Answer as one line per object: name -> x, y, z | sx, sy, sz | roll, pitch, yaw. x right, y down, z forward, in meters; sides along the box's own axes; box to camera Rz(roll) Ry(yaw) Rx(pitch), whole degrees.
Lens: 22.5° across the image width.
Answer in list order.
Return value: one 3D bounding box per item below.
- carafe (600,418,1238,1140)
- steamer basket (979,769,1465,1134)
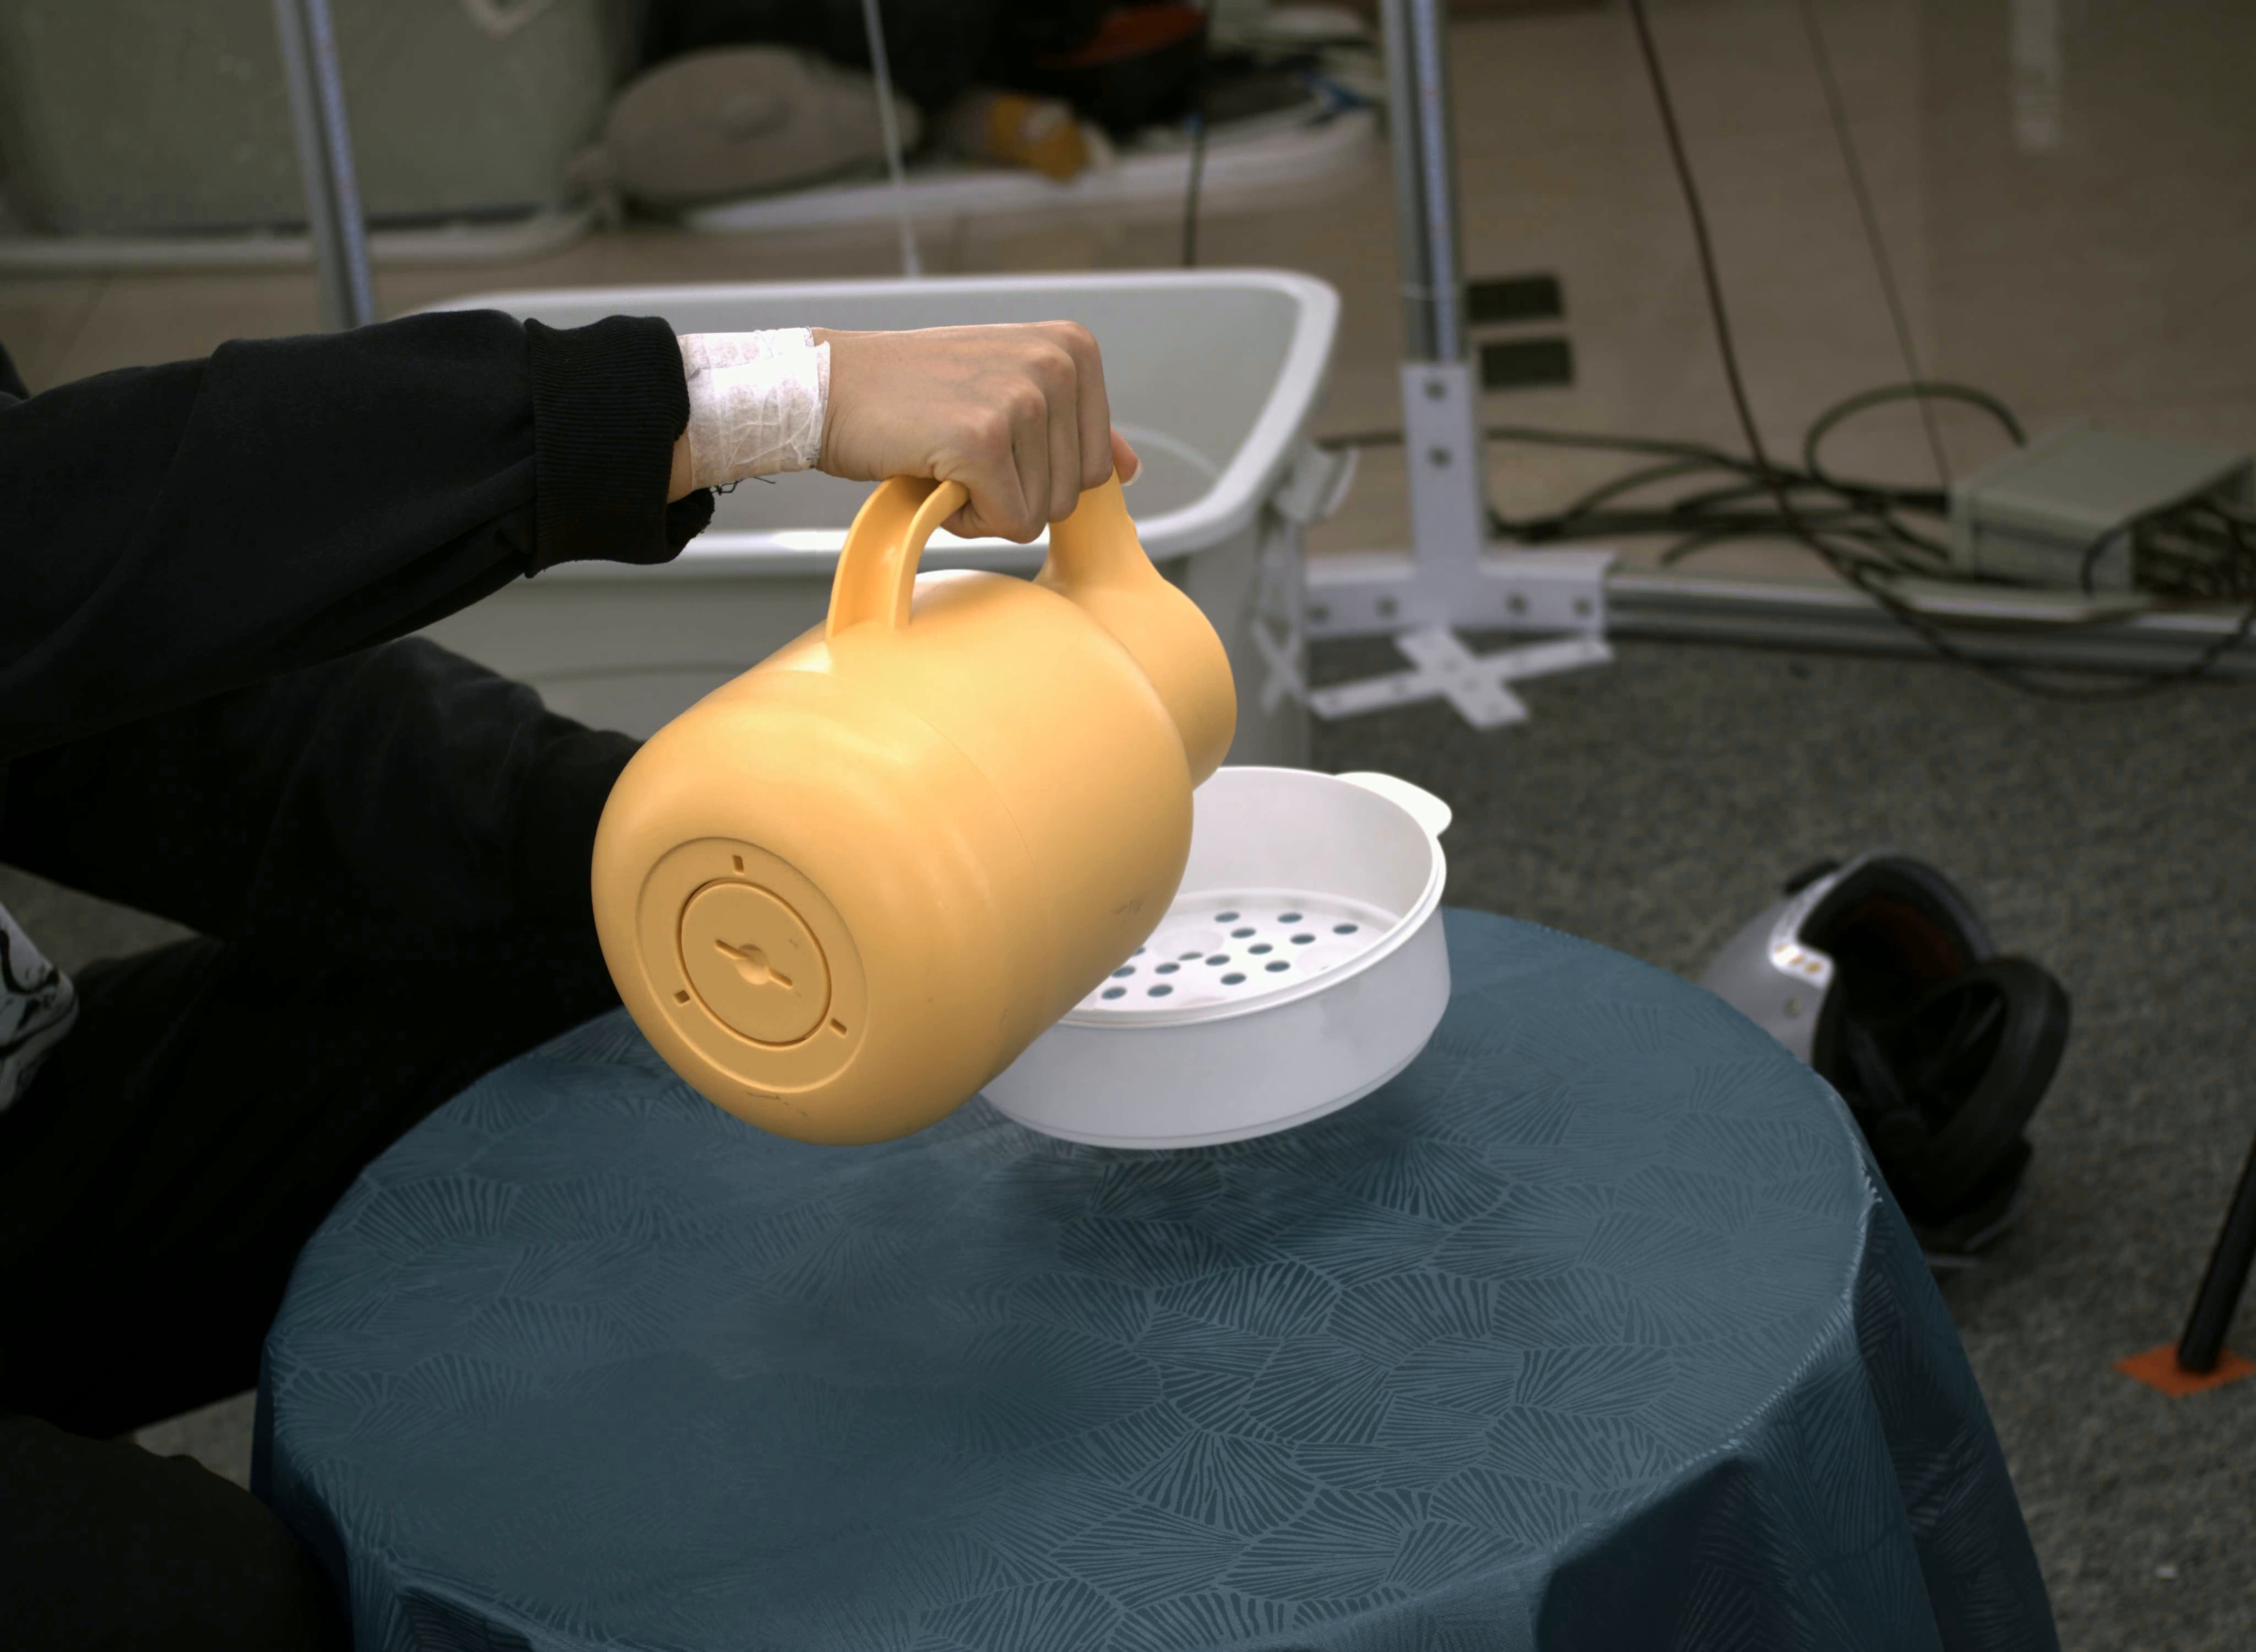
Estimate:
carafe -> -0.063, -0.025, 1.975 | 0.163, 0.205, 0.257 | 3, 25, 30
steamer basket -> 0.029, 0.049, 2.174 | 0.229, 0.070, 0.200 | -21, 29, -29
